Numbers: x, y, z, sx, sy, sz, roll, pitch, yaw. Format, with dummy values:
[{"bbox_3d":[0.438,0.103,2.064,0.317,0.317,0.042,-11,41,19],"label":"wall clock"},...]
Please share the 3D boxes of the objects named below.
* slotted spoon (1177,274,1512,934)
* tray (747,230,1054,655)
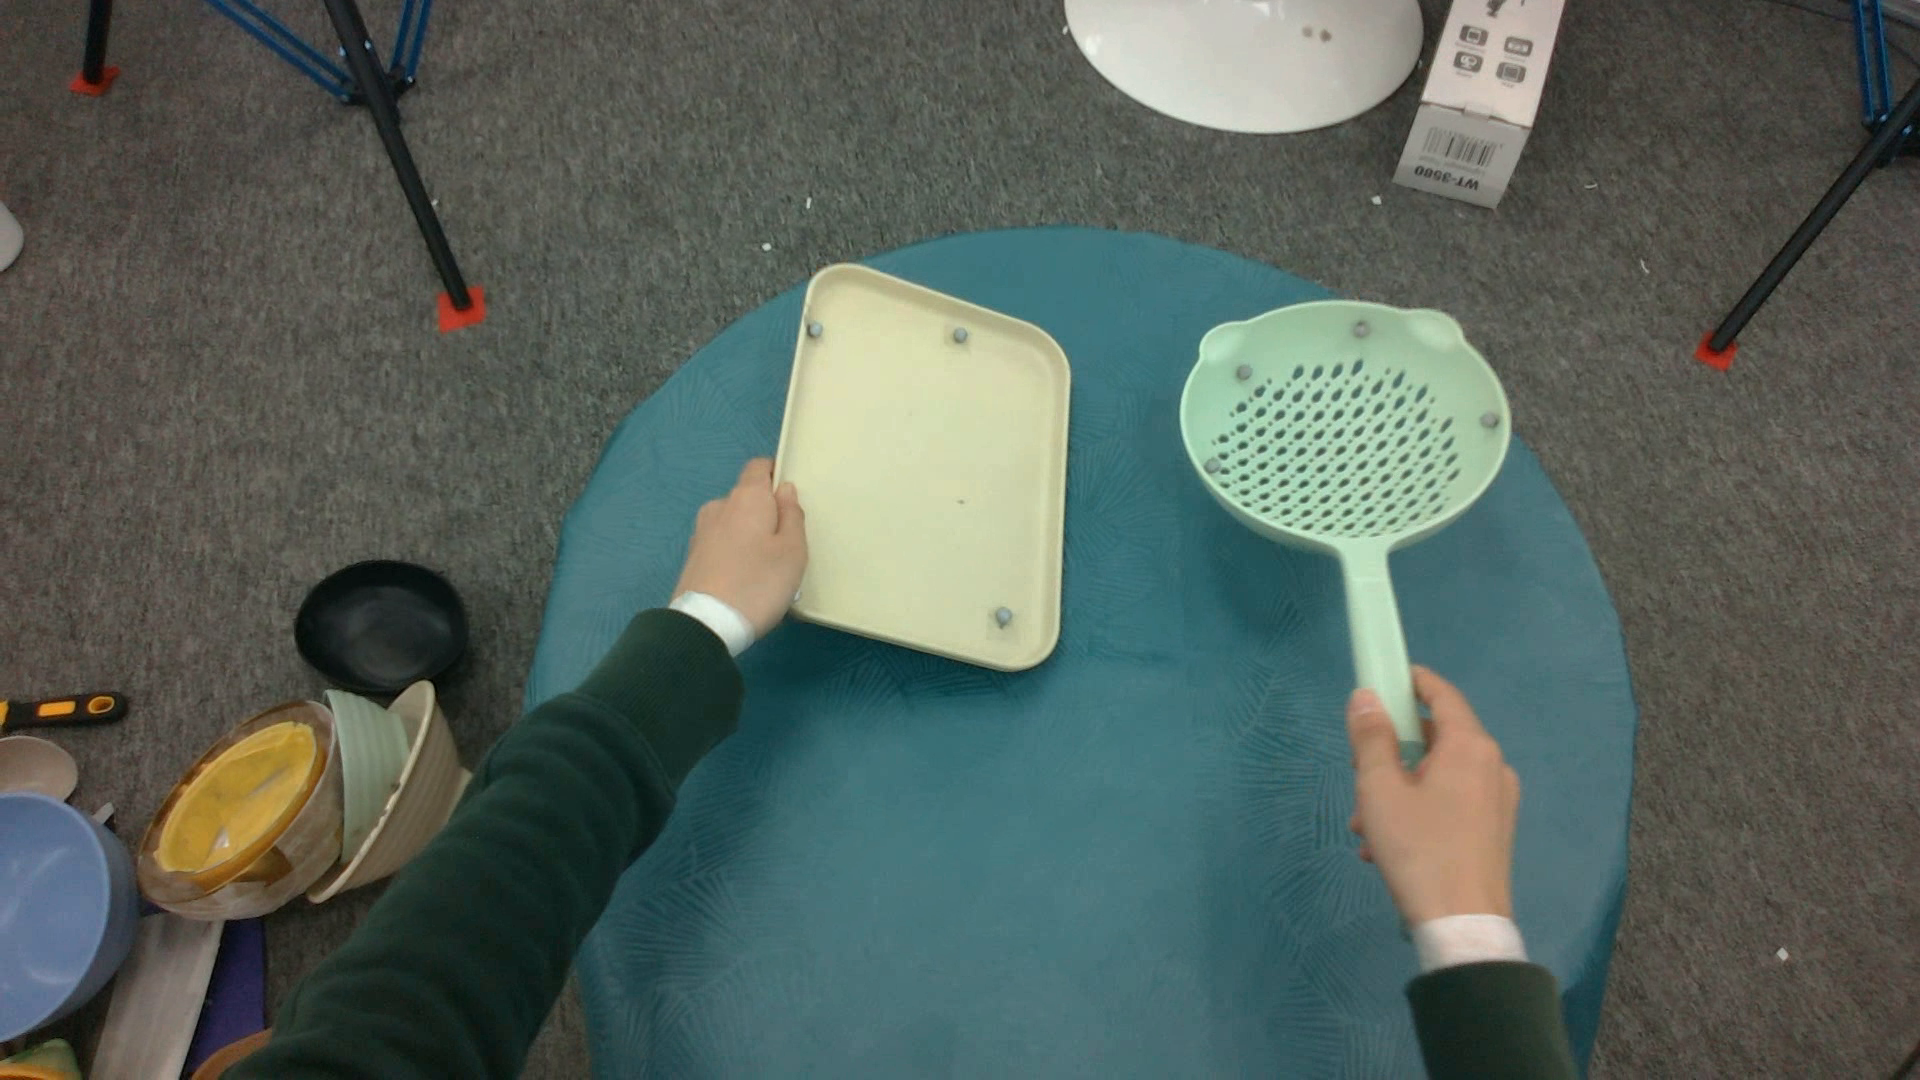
[{"bbox_3d":[0.200,0.009,0.675,0.169,0.075,0.360,-6,47,11],"label":"slotted spoon"},{"bbox_3d":[-0.027,-0.057,0.766,0.171,0.017,0.240,16,59,-21],"label":"tray"}]
